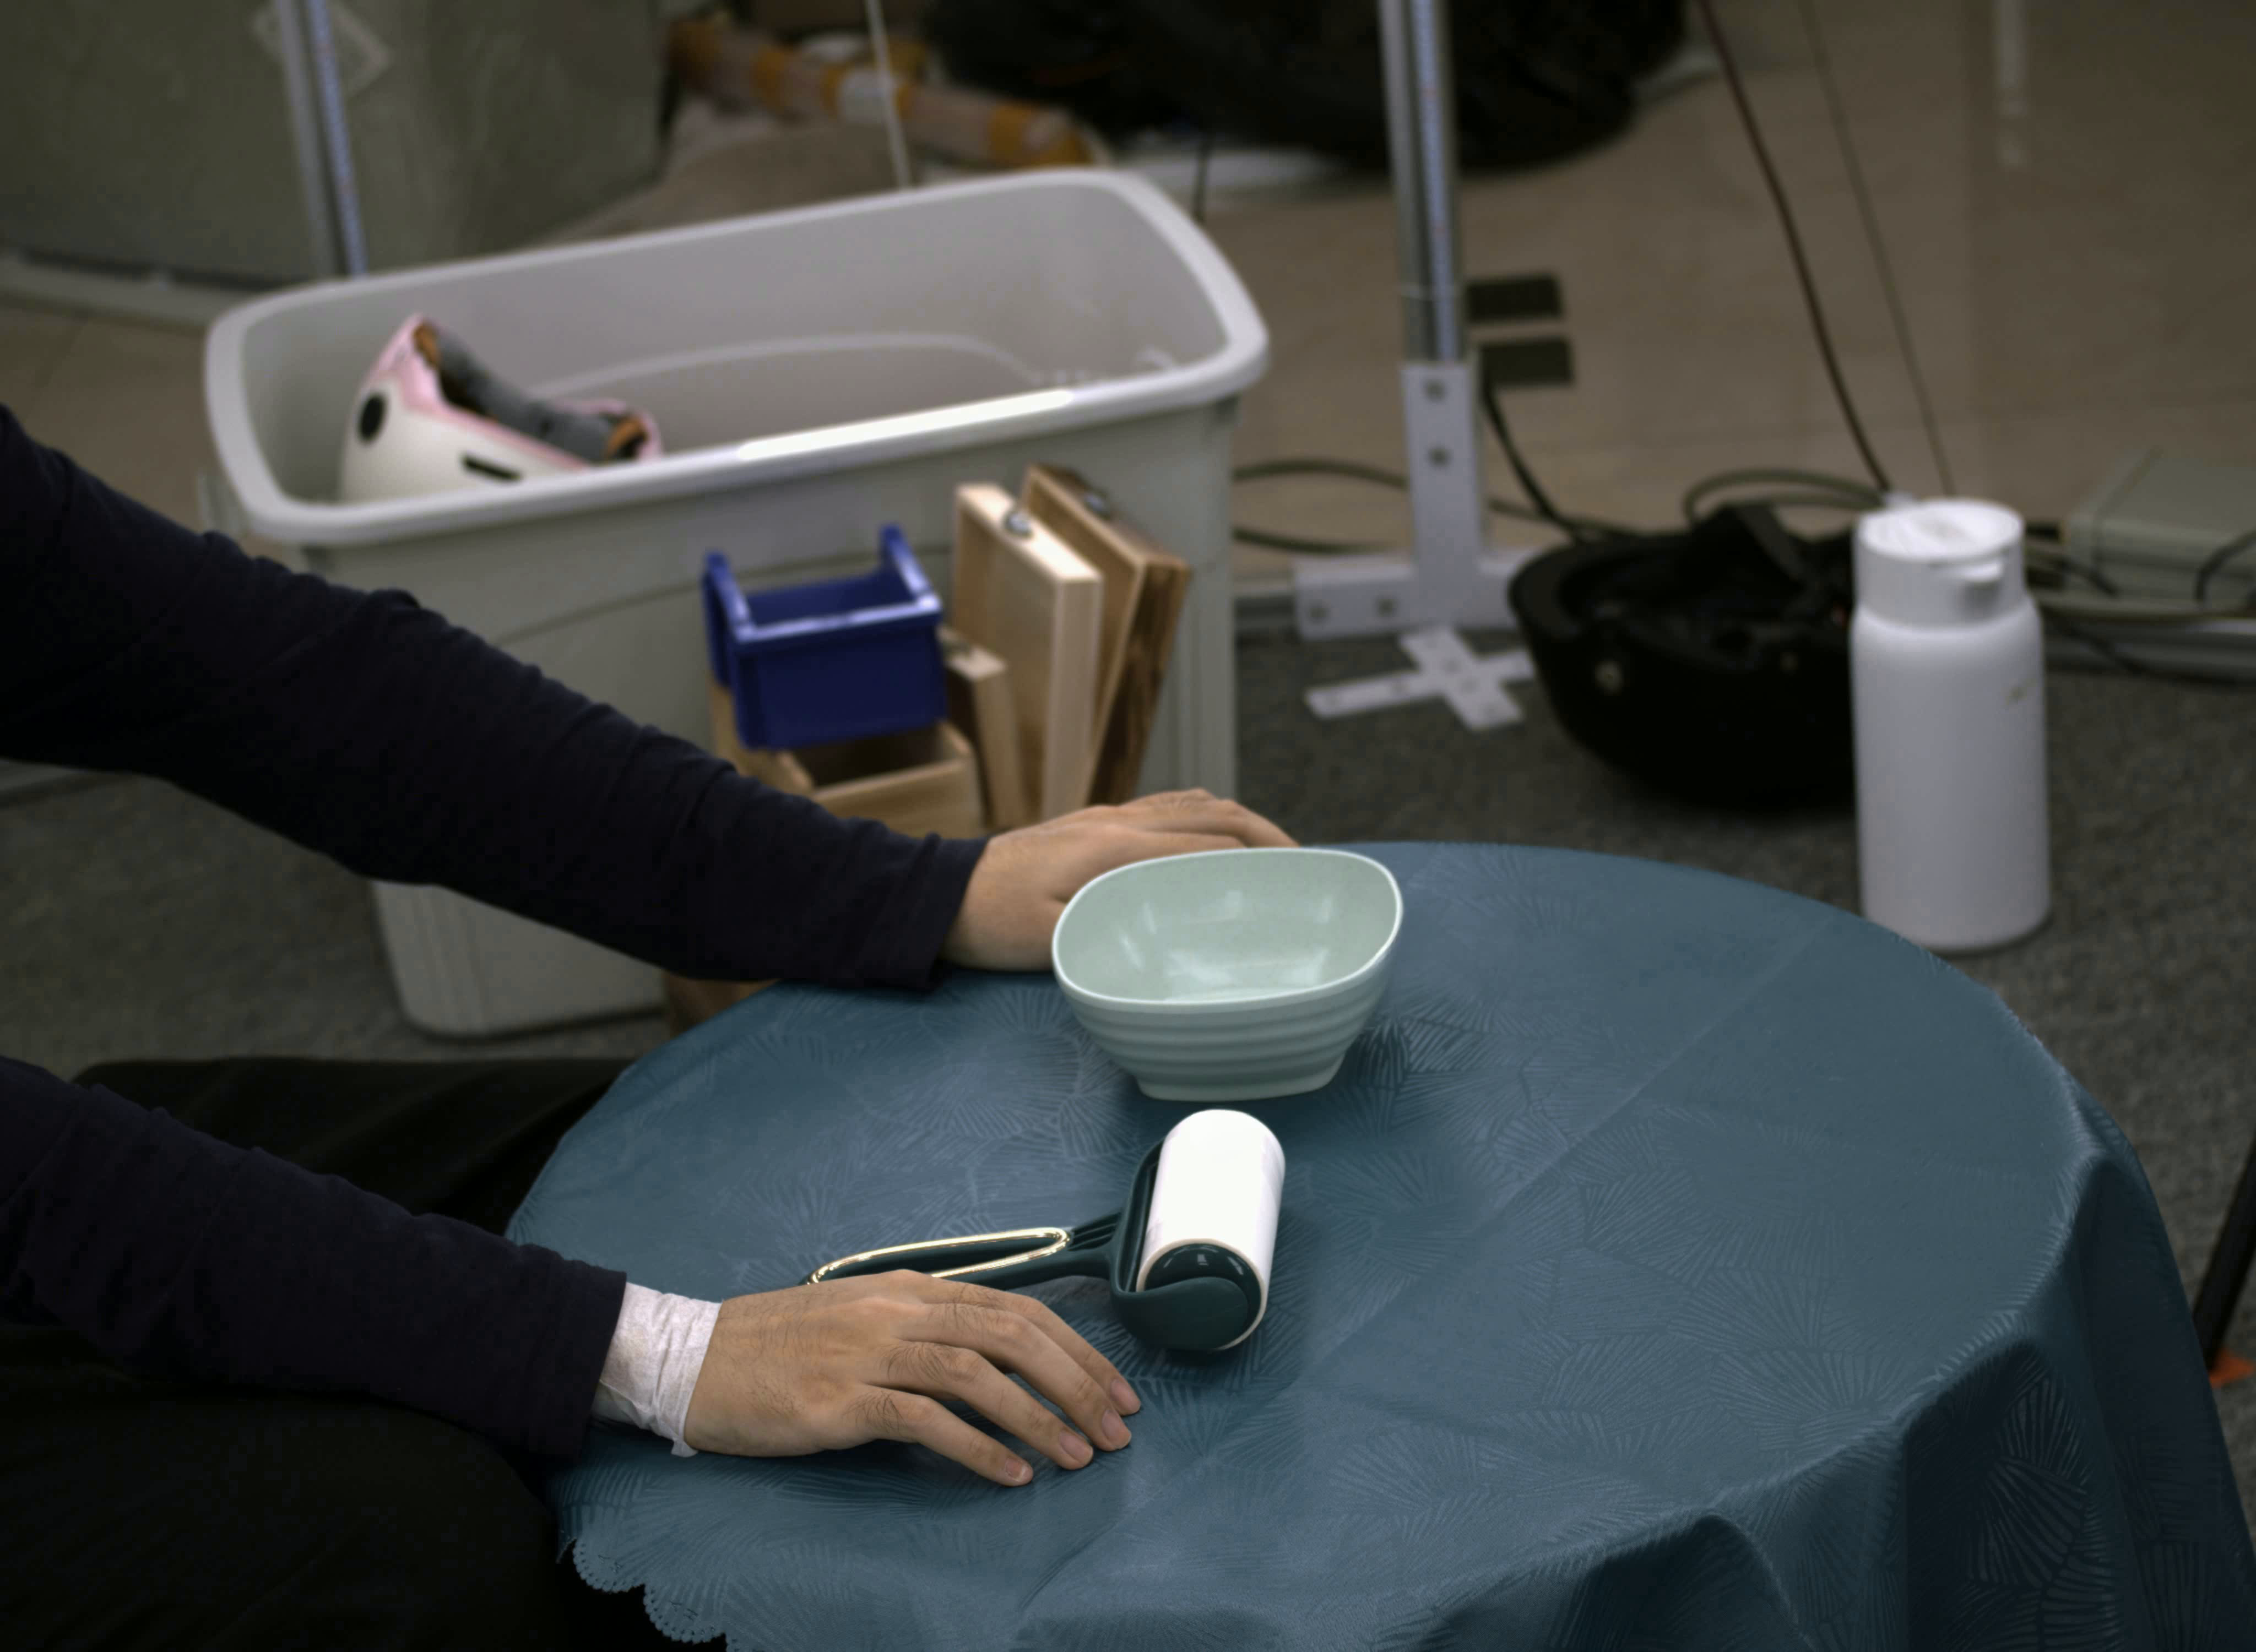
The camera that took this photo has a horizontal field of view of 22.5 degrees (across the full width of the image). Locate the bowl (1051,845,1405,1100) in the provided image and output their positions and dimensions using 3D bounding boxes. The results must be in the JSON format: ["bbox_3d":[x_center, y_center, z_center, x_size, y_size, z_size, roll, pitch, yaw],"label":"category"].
[{"bbox_3d":[0.041,0.063,2.235,0.151,0.059,0.149,-3,26,2],"label":"bowl"}]

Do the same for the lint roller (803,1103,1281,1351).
[{"bbox_3d":[-0.035,0.154,2.080,0.180,0.049,0.132,-6,25,8],"label":"lint roller"}]
